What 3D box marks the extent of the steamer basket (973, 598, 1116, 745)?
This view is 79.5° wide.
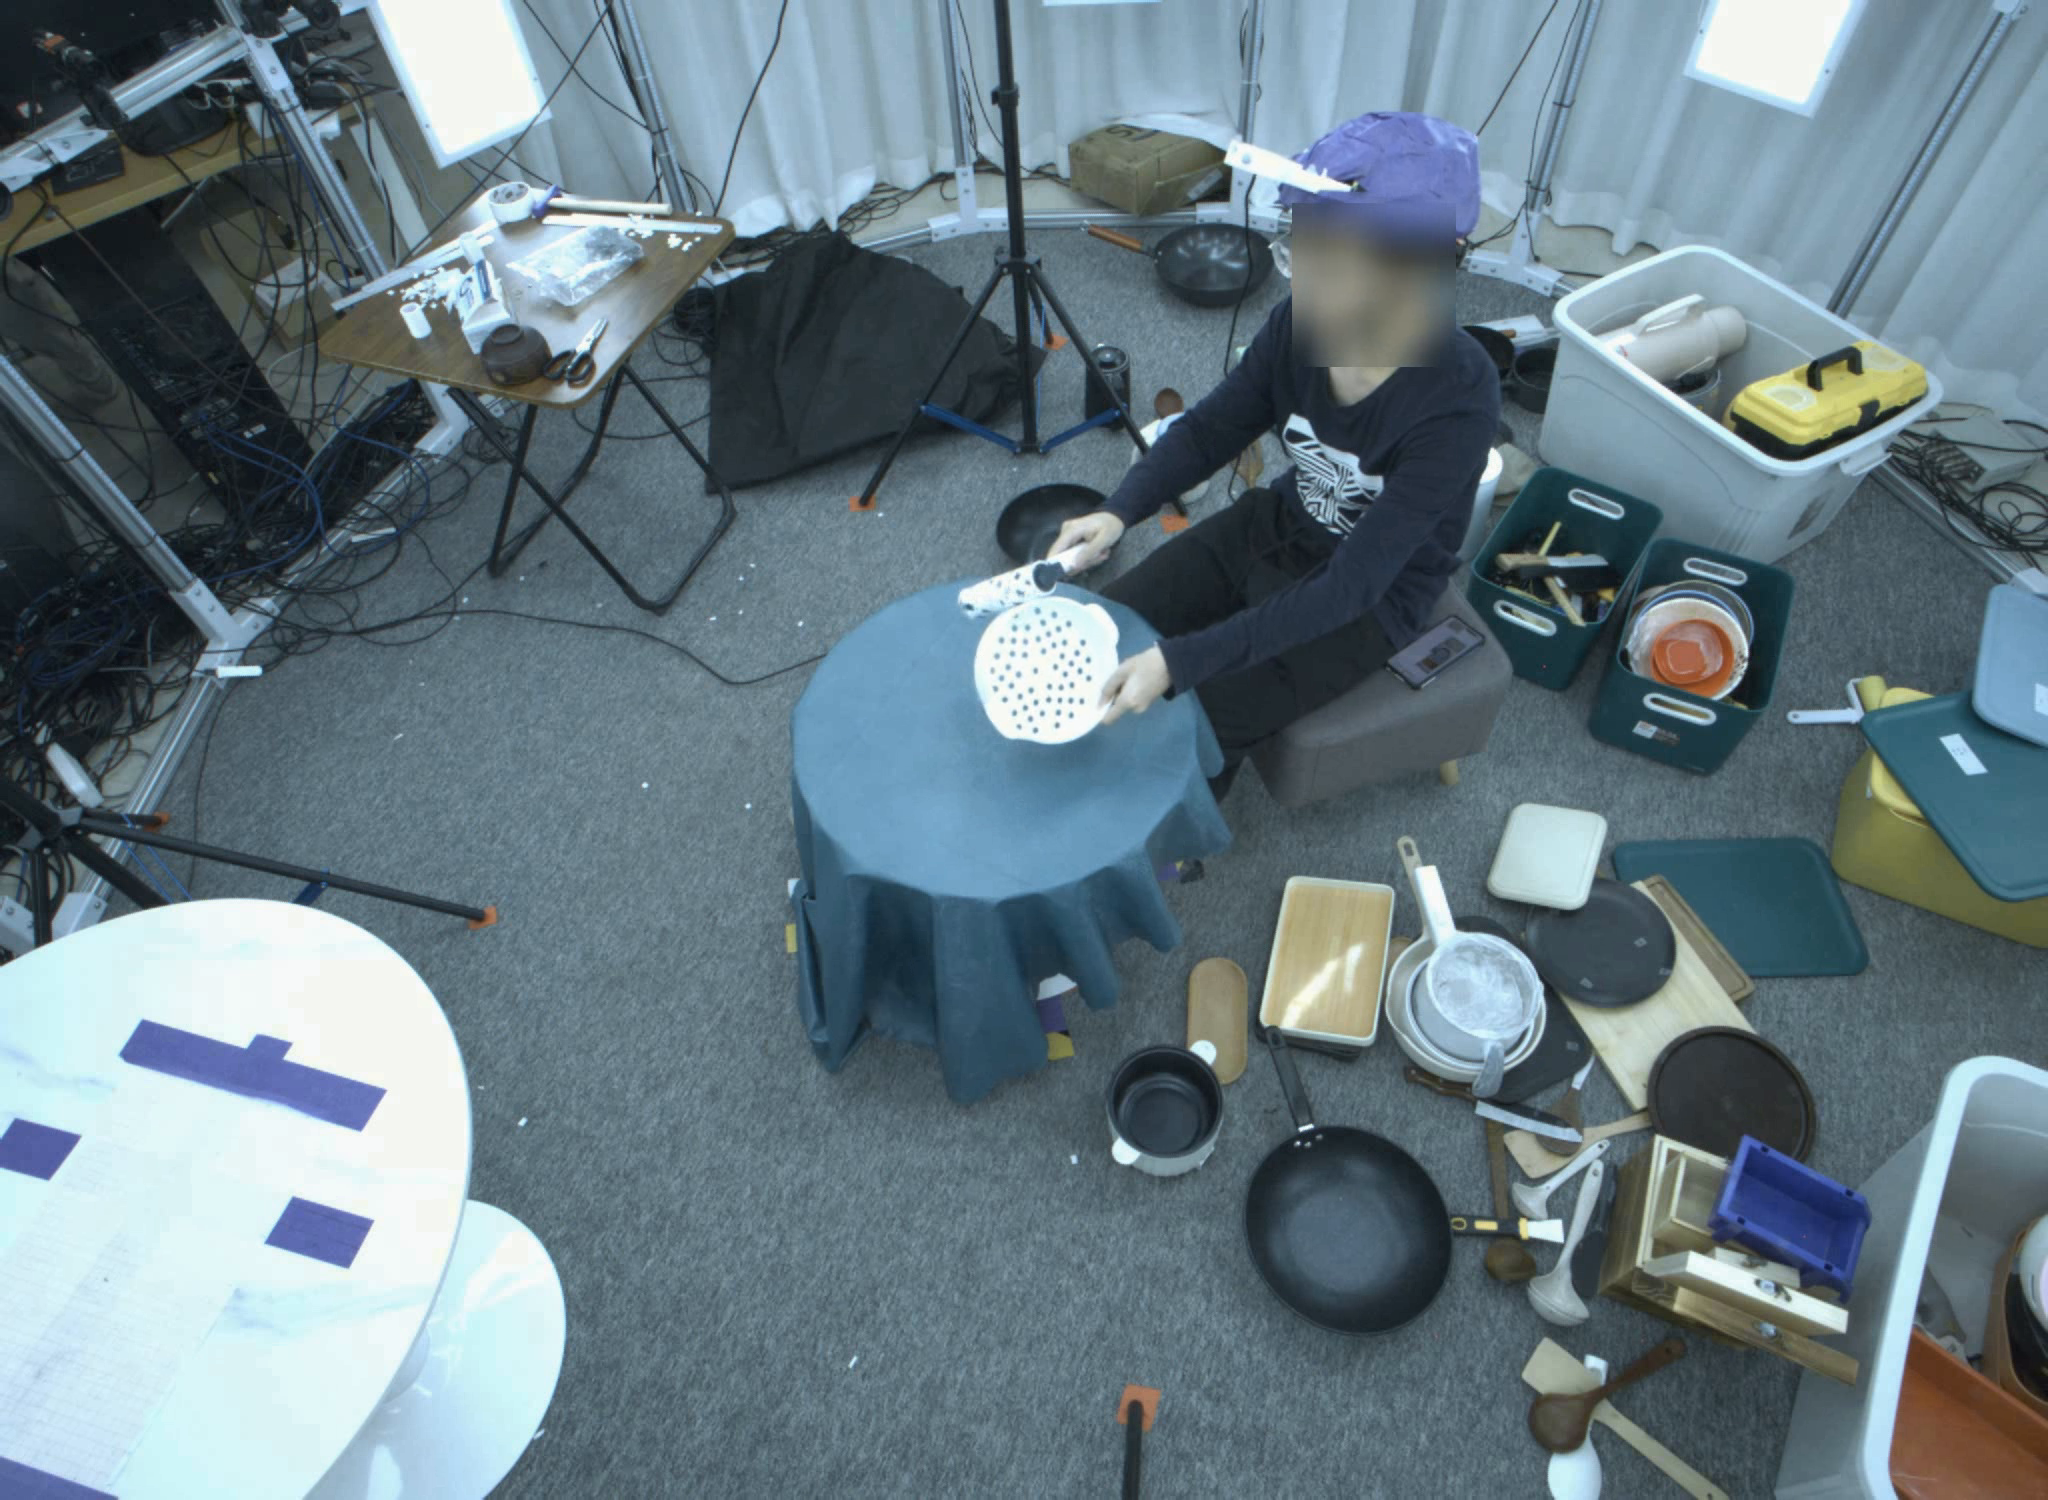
[{"bbox_3d":[0.025,-0.109,1.708,0.231,0.205,0.068,-44,20,-17],"label":"steamer basket"}]

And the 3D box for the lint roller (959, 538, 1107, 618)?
[{"bbox_3d":[0.037,-0.267,1.773,0.173,0.051,0.250,-13,16,46],"label":"lint roller"}]
